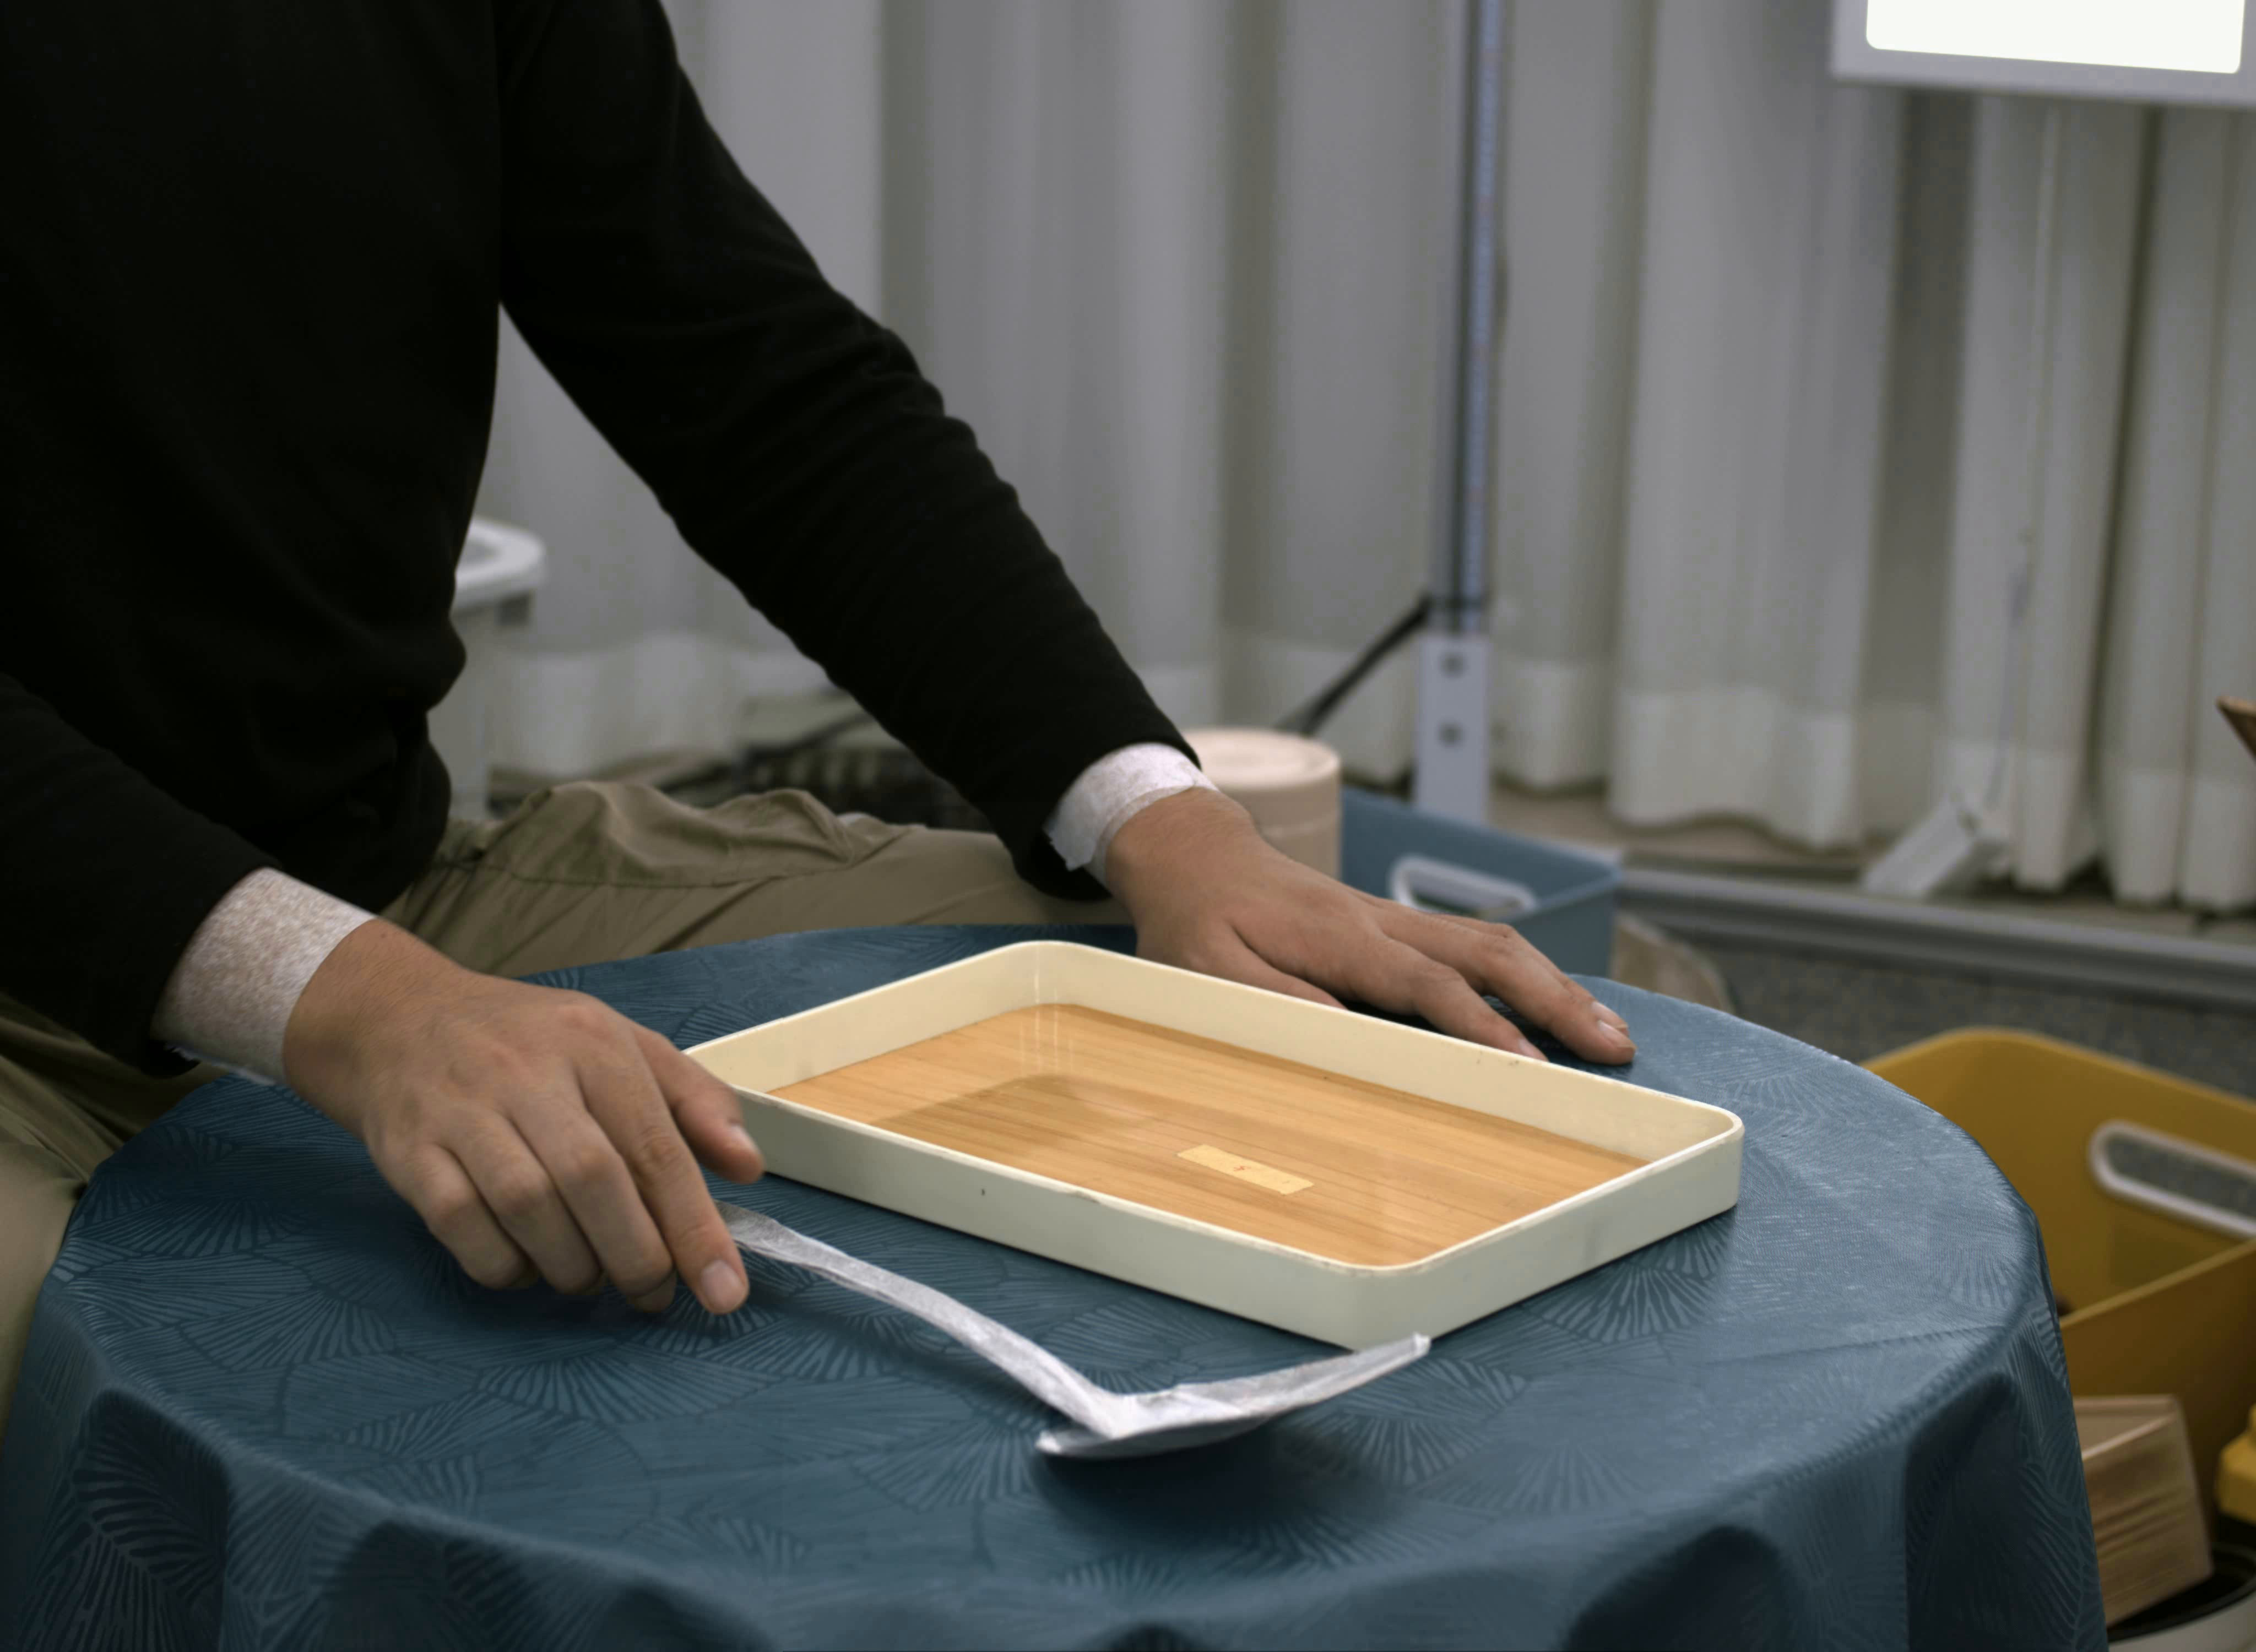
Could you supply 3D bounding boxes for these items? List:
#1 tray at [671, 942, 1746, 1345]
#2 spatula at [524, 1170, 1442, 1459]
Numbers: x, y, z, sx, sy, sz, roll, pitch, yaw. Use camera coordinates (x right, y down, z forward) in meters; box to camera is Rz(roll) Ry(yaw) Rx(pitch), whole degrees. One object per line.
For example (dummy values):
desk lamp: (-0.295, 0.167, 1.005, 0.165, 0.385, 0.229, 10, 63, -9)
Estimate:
tray: (0.022, 0.094, 1.637, 0.296, 0.027, 0.192, 13, 20, 39)
spatula: (-0.065, 0.128, 1.492, 0.099, 0.045, 0.360, -15, 22, -42)
